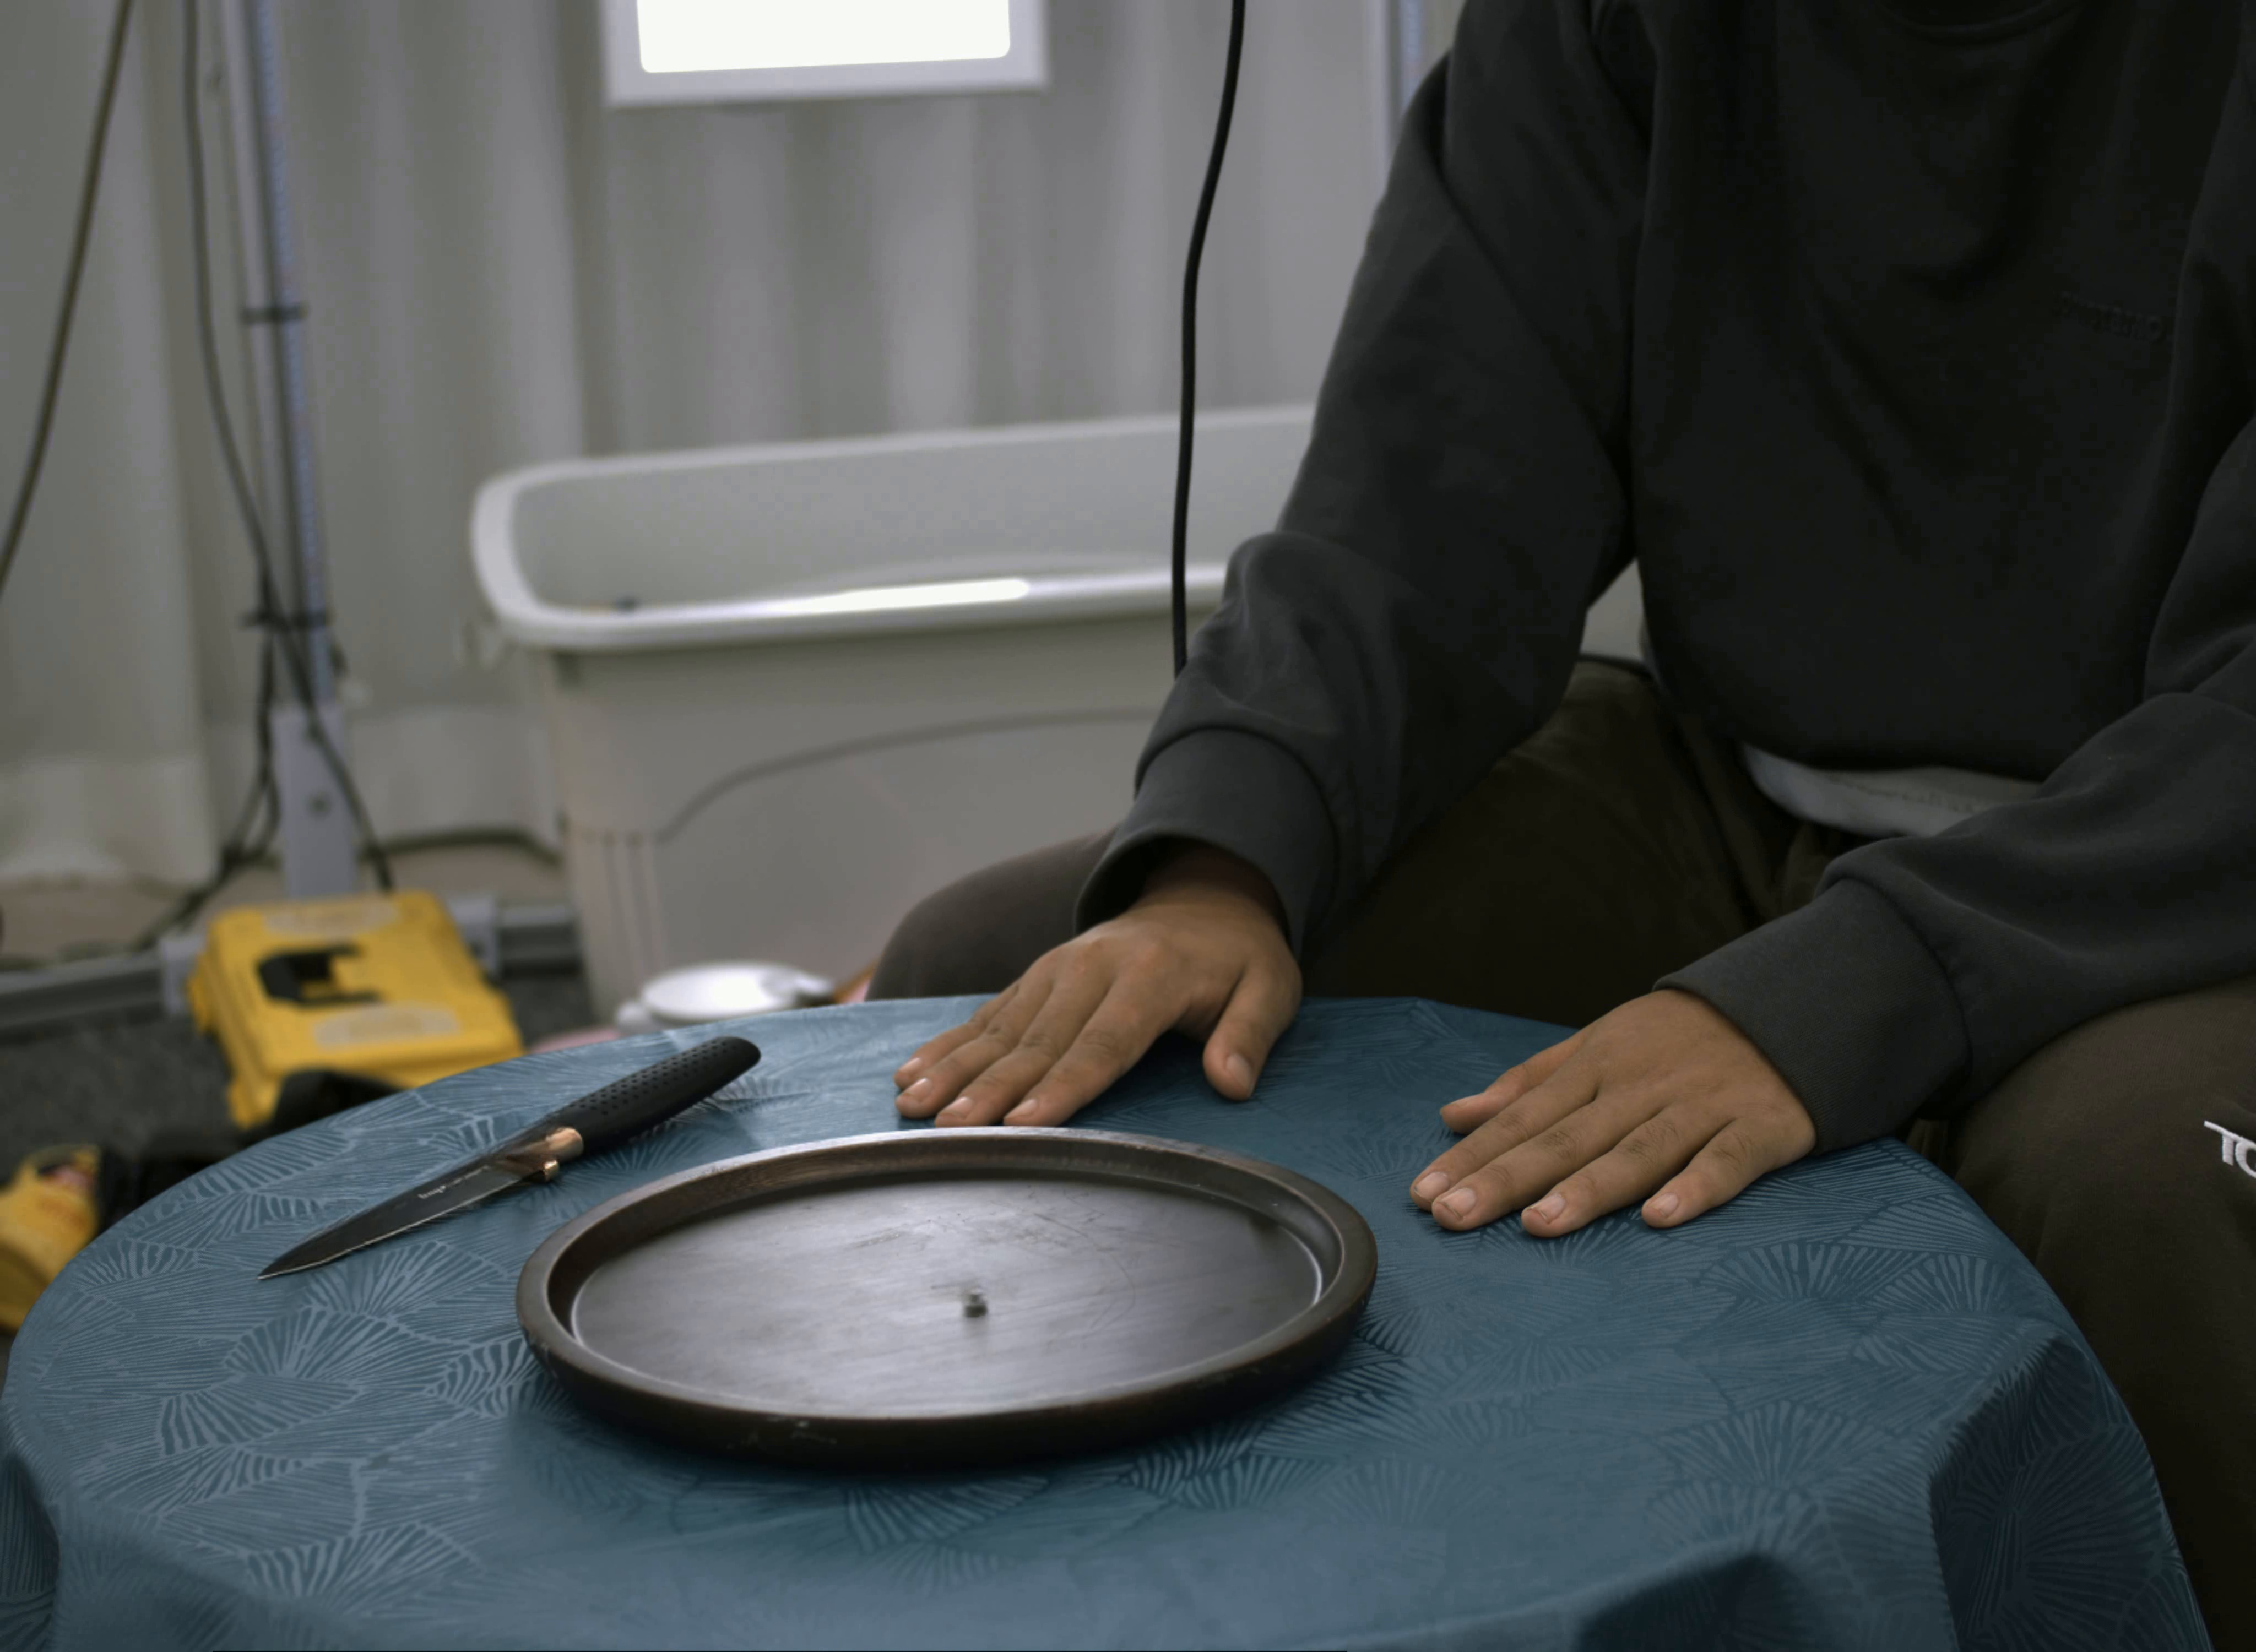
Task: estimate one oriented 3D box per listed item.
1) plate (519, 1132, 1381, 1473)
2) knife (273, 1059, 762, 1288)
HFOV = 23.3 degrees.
[{"bbox_3d":[-0.051,0.137,1.599,0.254,0.029,0.256,-3,13,0],"label":"plate"},{"bbox_3d":[-0.194,0.111,1.747,0.026,0.017,0.225,16,24,35],"label":"knife"}]
